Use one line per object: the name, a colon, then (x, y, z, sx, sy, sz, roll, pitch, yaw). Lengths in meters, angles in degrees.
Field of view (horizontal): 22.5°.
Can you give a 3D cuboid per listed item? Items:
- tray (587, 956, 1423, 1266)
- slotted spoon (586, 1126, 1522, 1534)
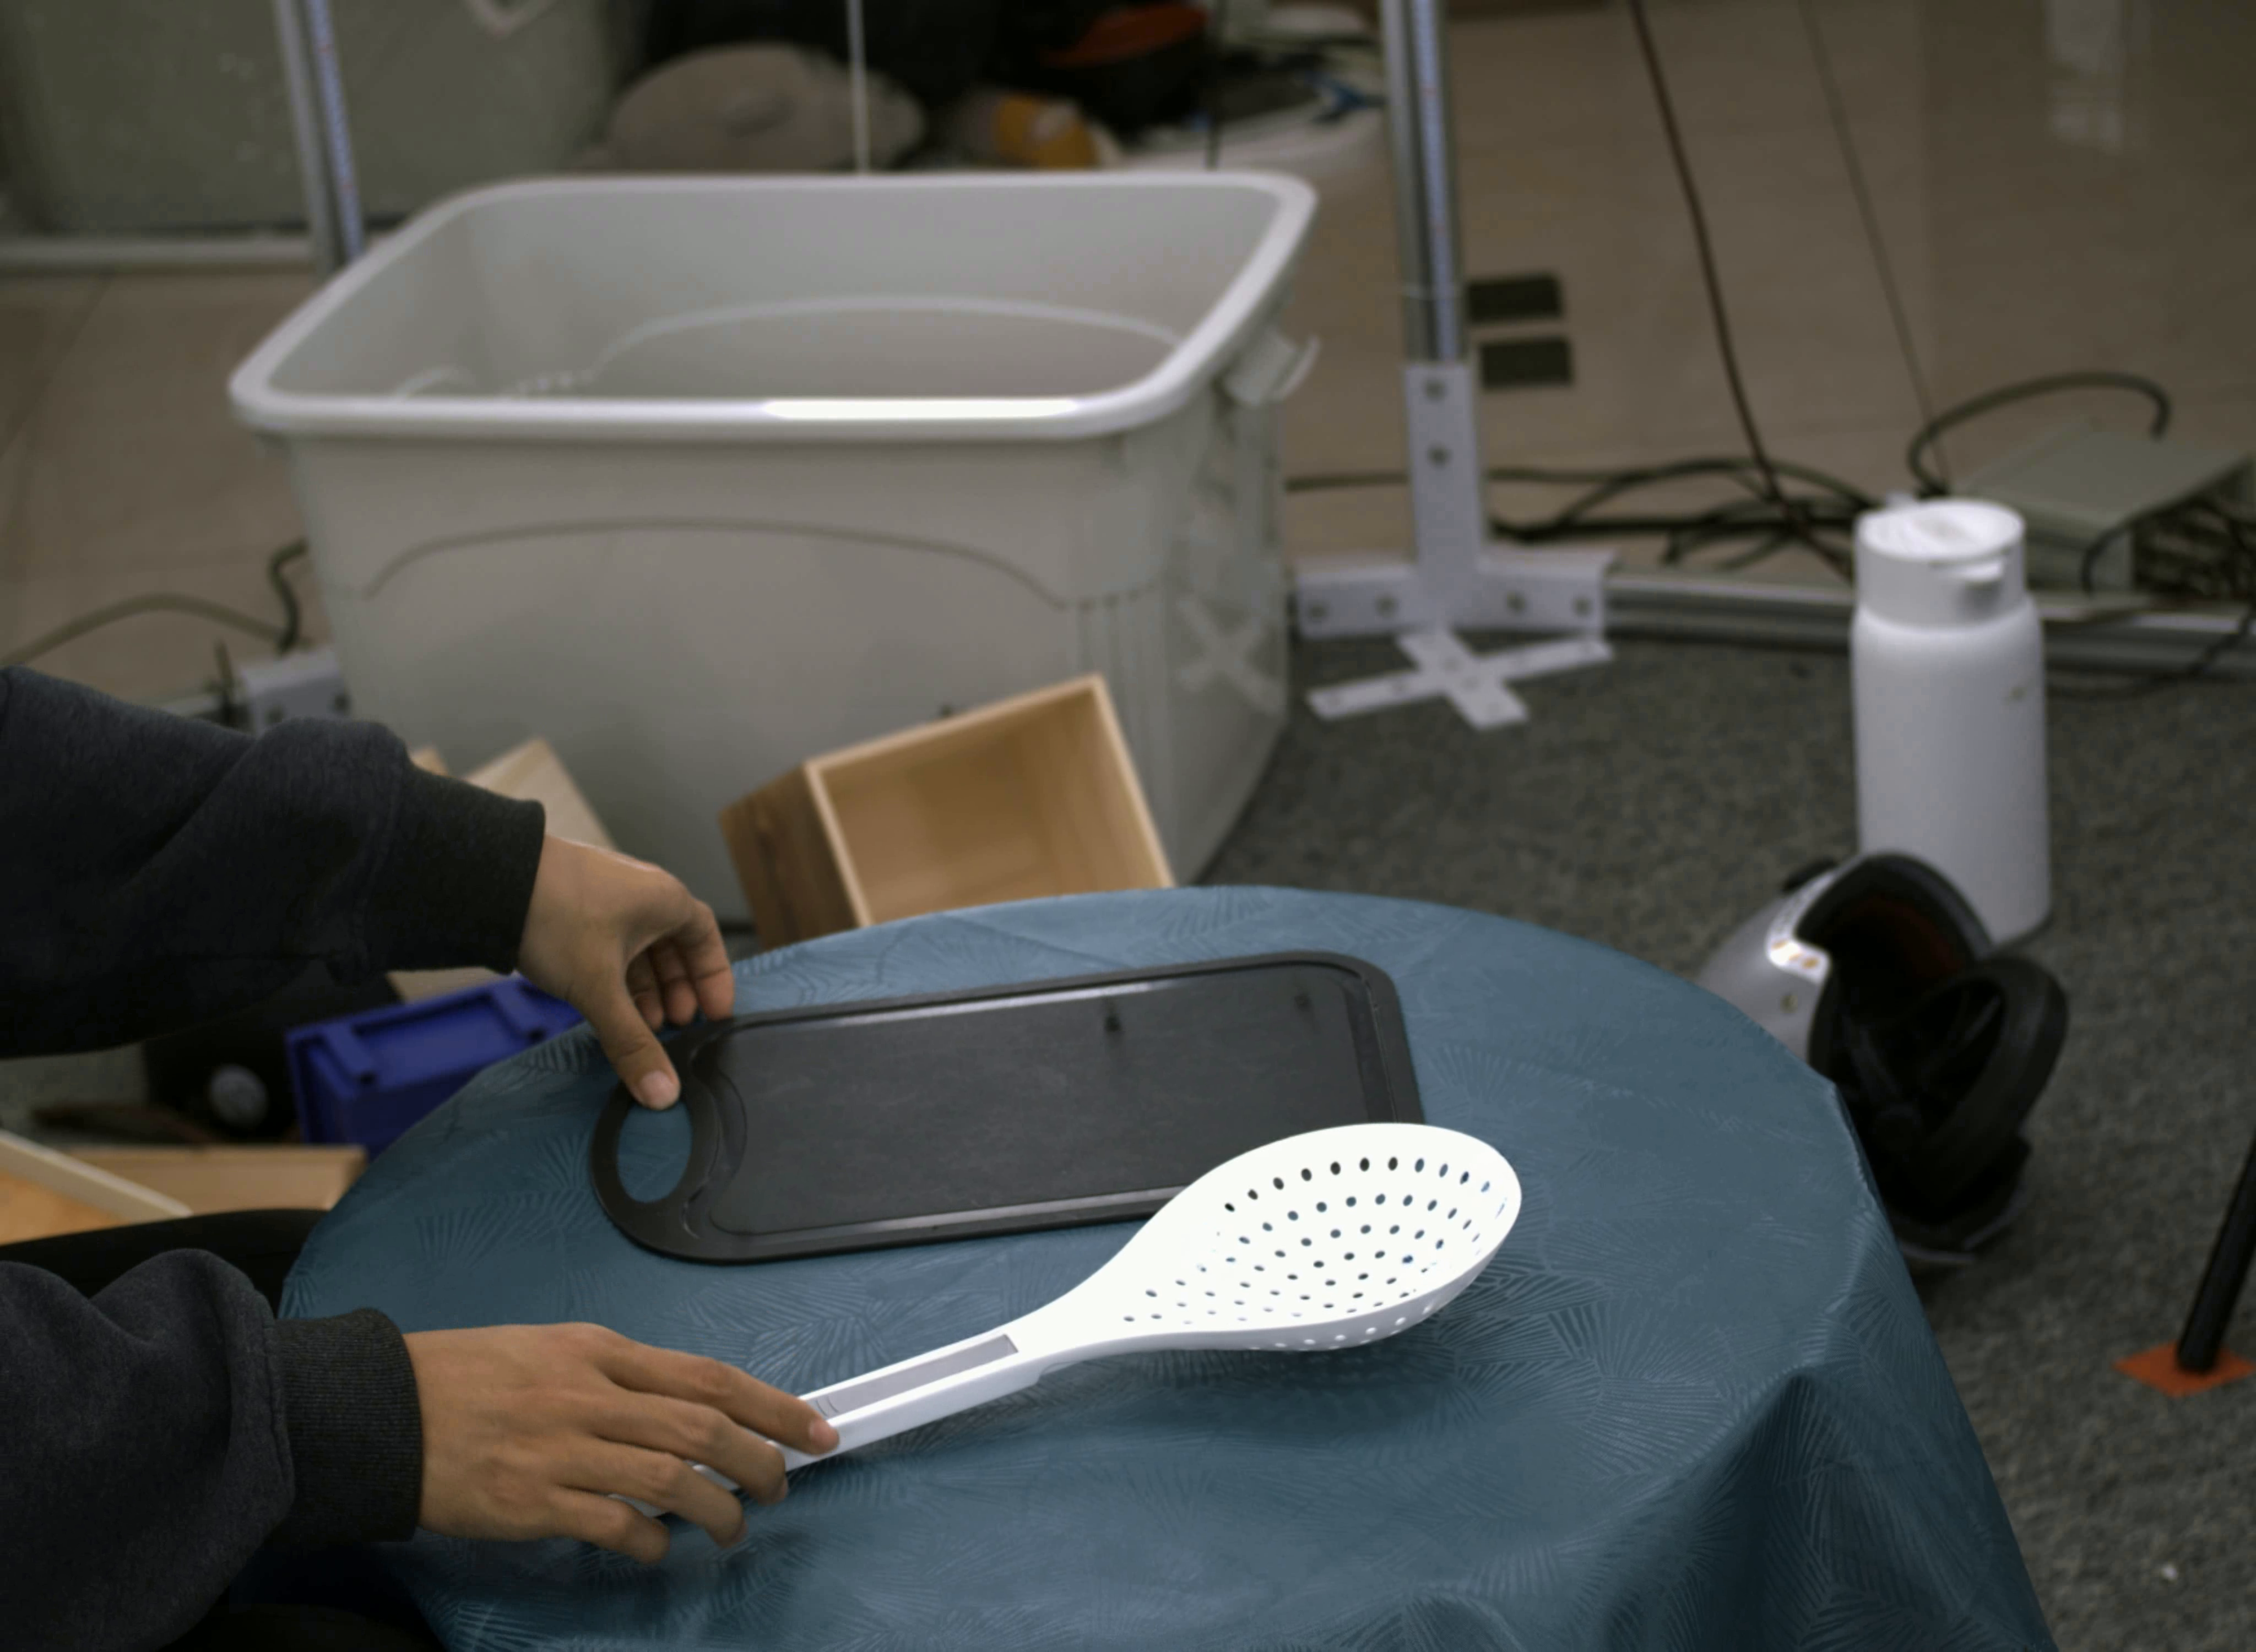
tray: (-0.050, 0.109, 2.217, 0.325, 0.010, 0.208, -6, 25, 0)
slotted spoon: (-0.024, 0.182, 2.006, 0.348, 0.046, 0.134, -15, 24, -15)
